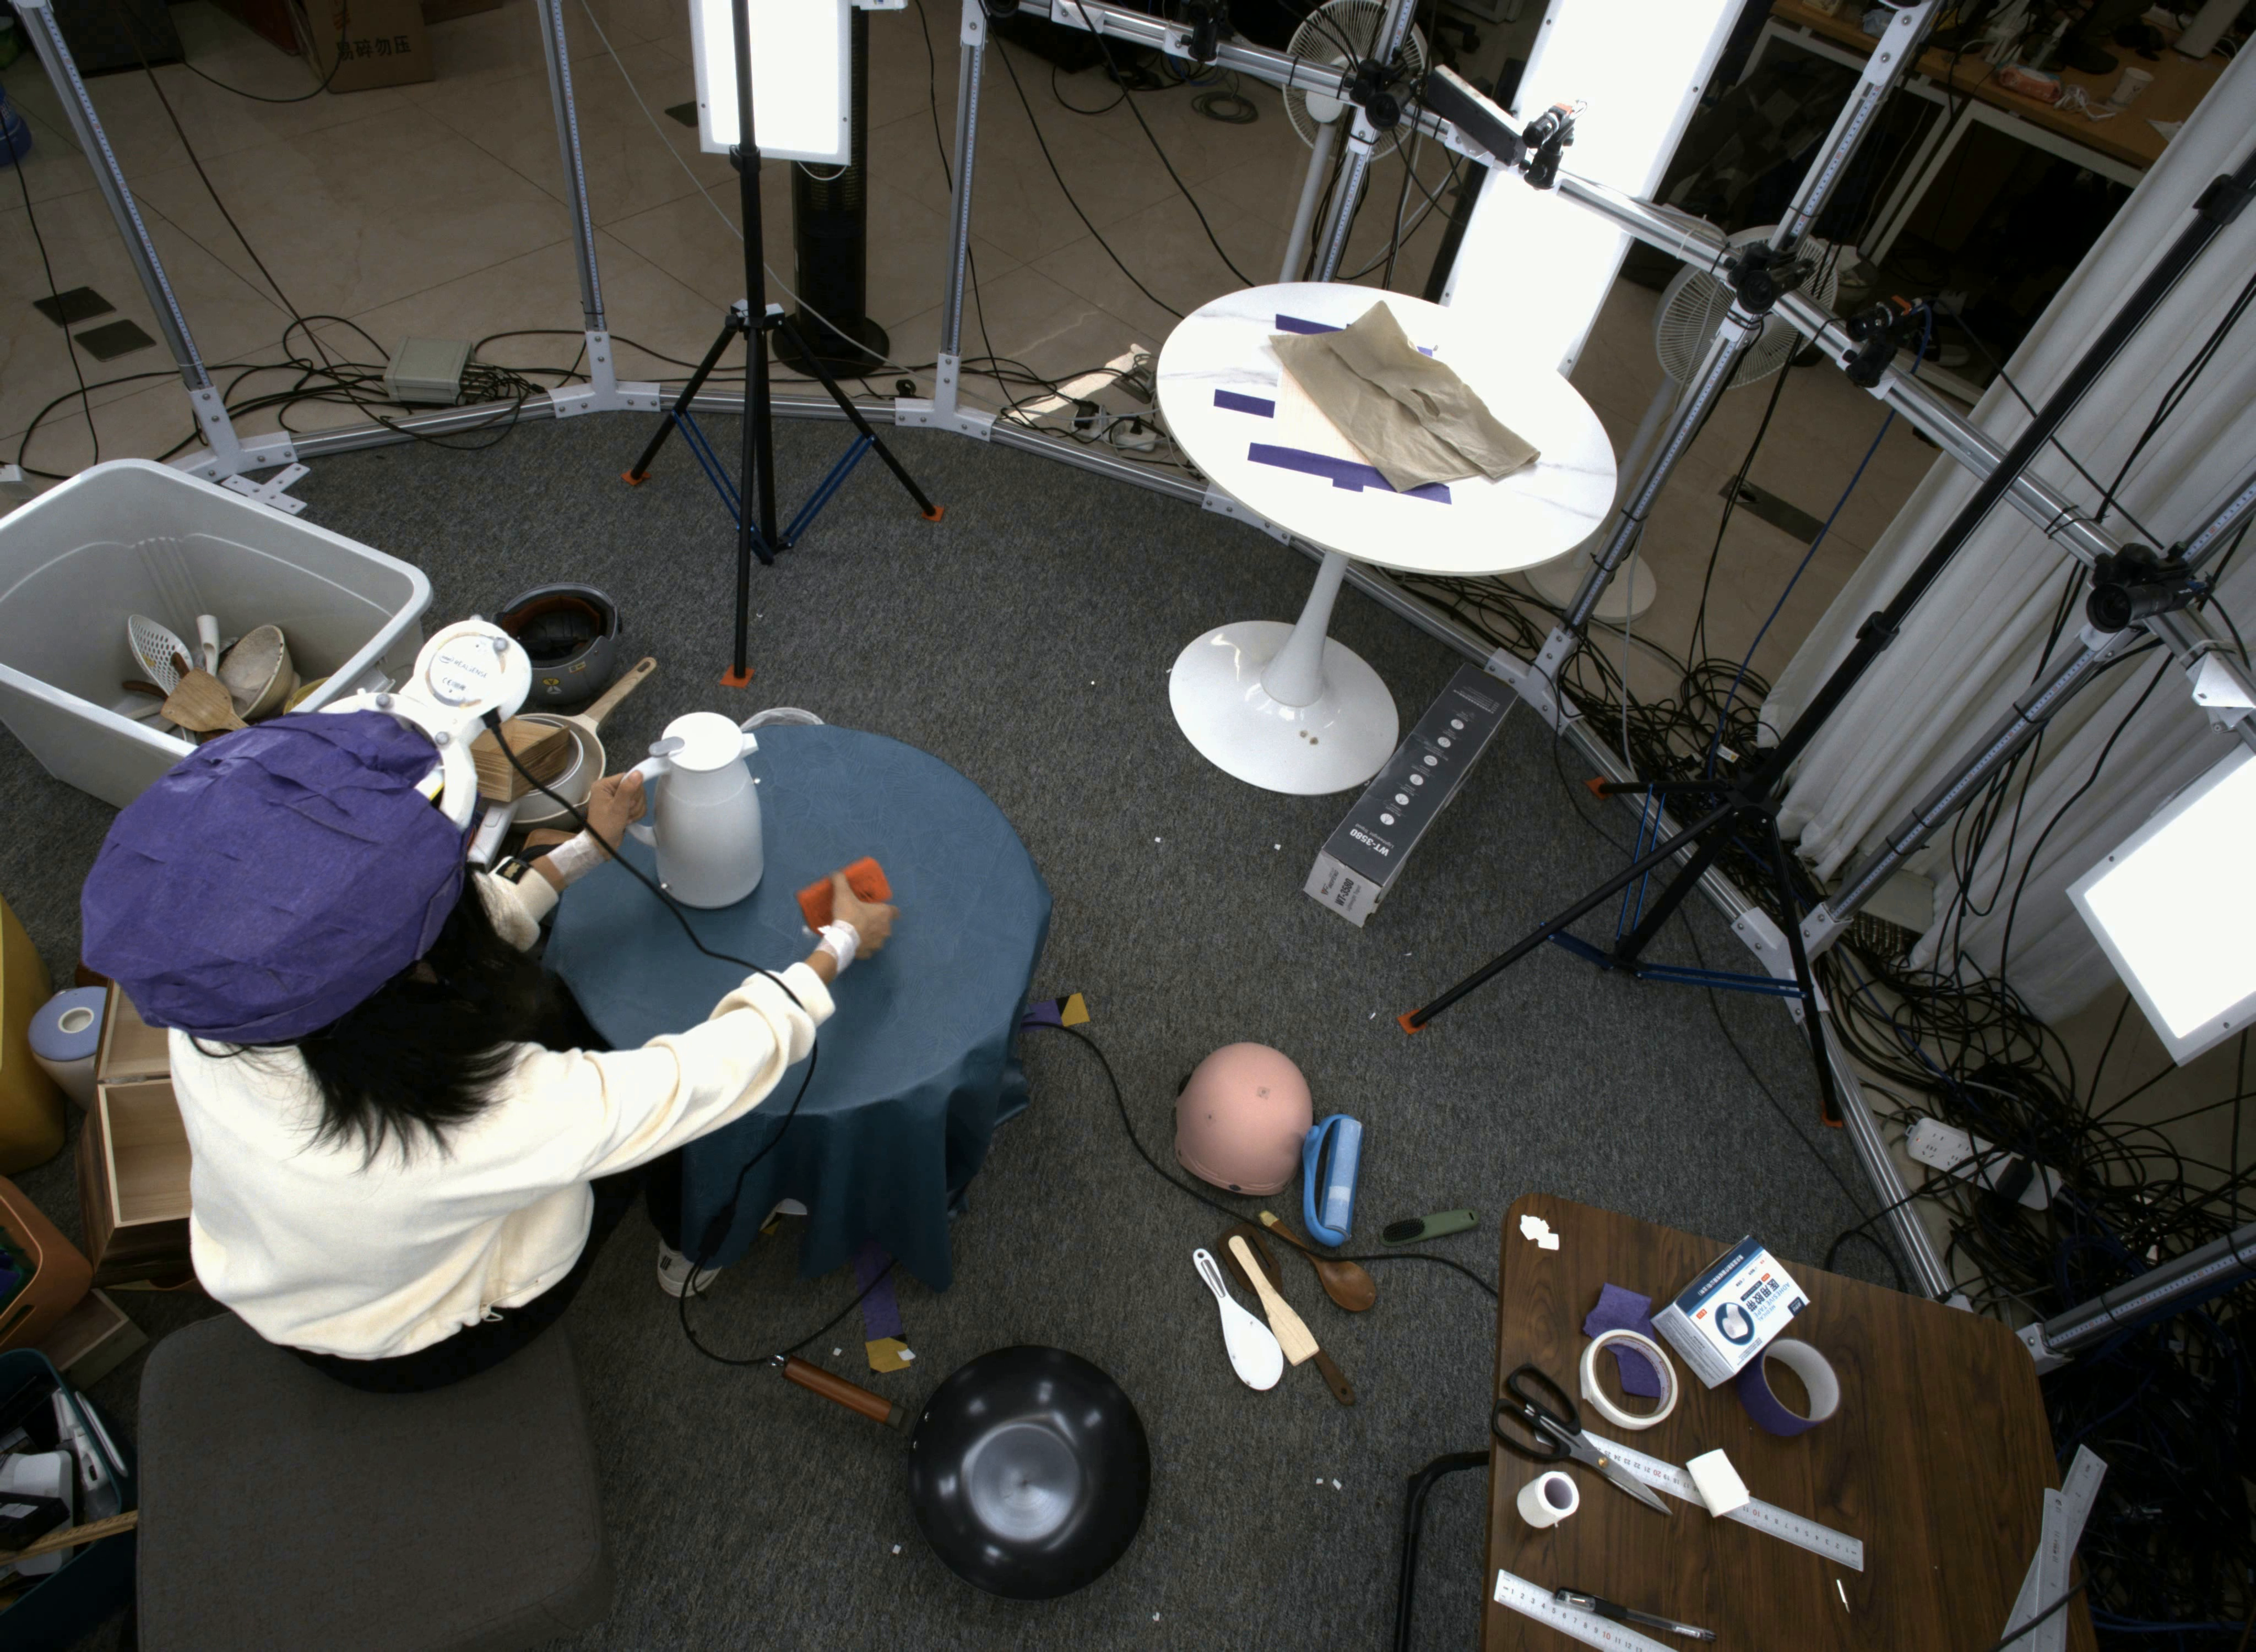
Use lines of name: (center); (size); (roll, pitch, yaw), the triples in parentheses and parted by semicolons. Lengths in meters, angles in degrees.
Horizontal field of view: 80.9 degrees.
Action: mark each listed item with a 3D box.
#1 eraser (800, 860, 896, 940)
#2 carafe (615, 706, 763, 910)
eraser: (-0.342, 0.088, 1.586); (0.108, 0.061, 0.022); (-31, 25, -25)
carafe: (-0.528, -0.023, 1.543); (0.168, 0.254, 0.129); (-16, 57, -24)
